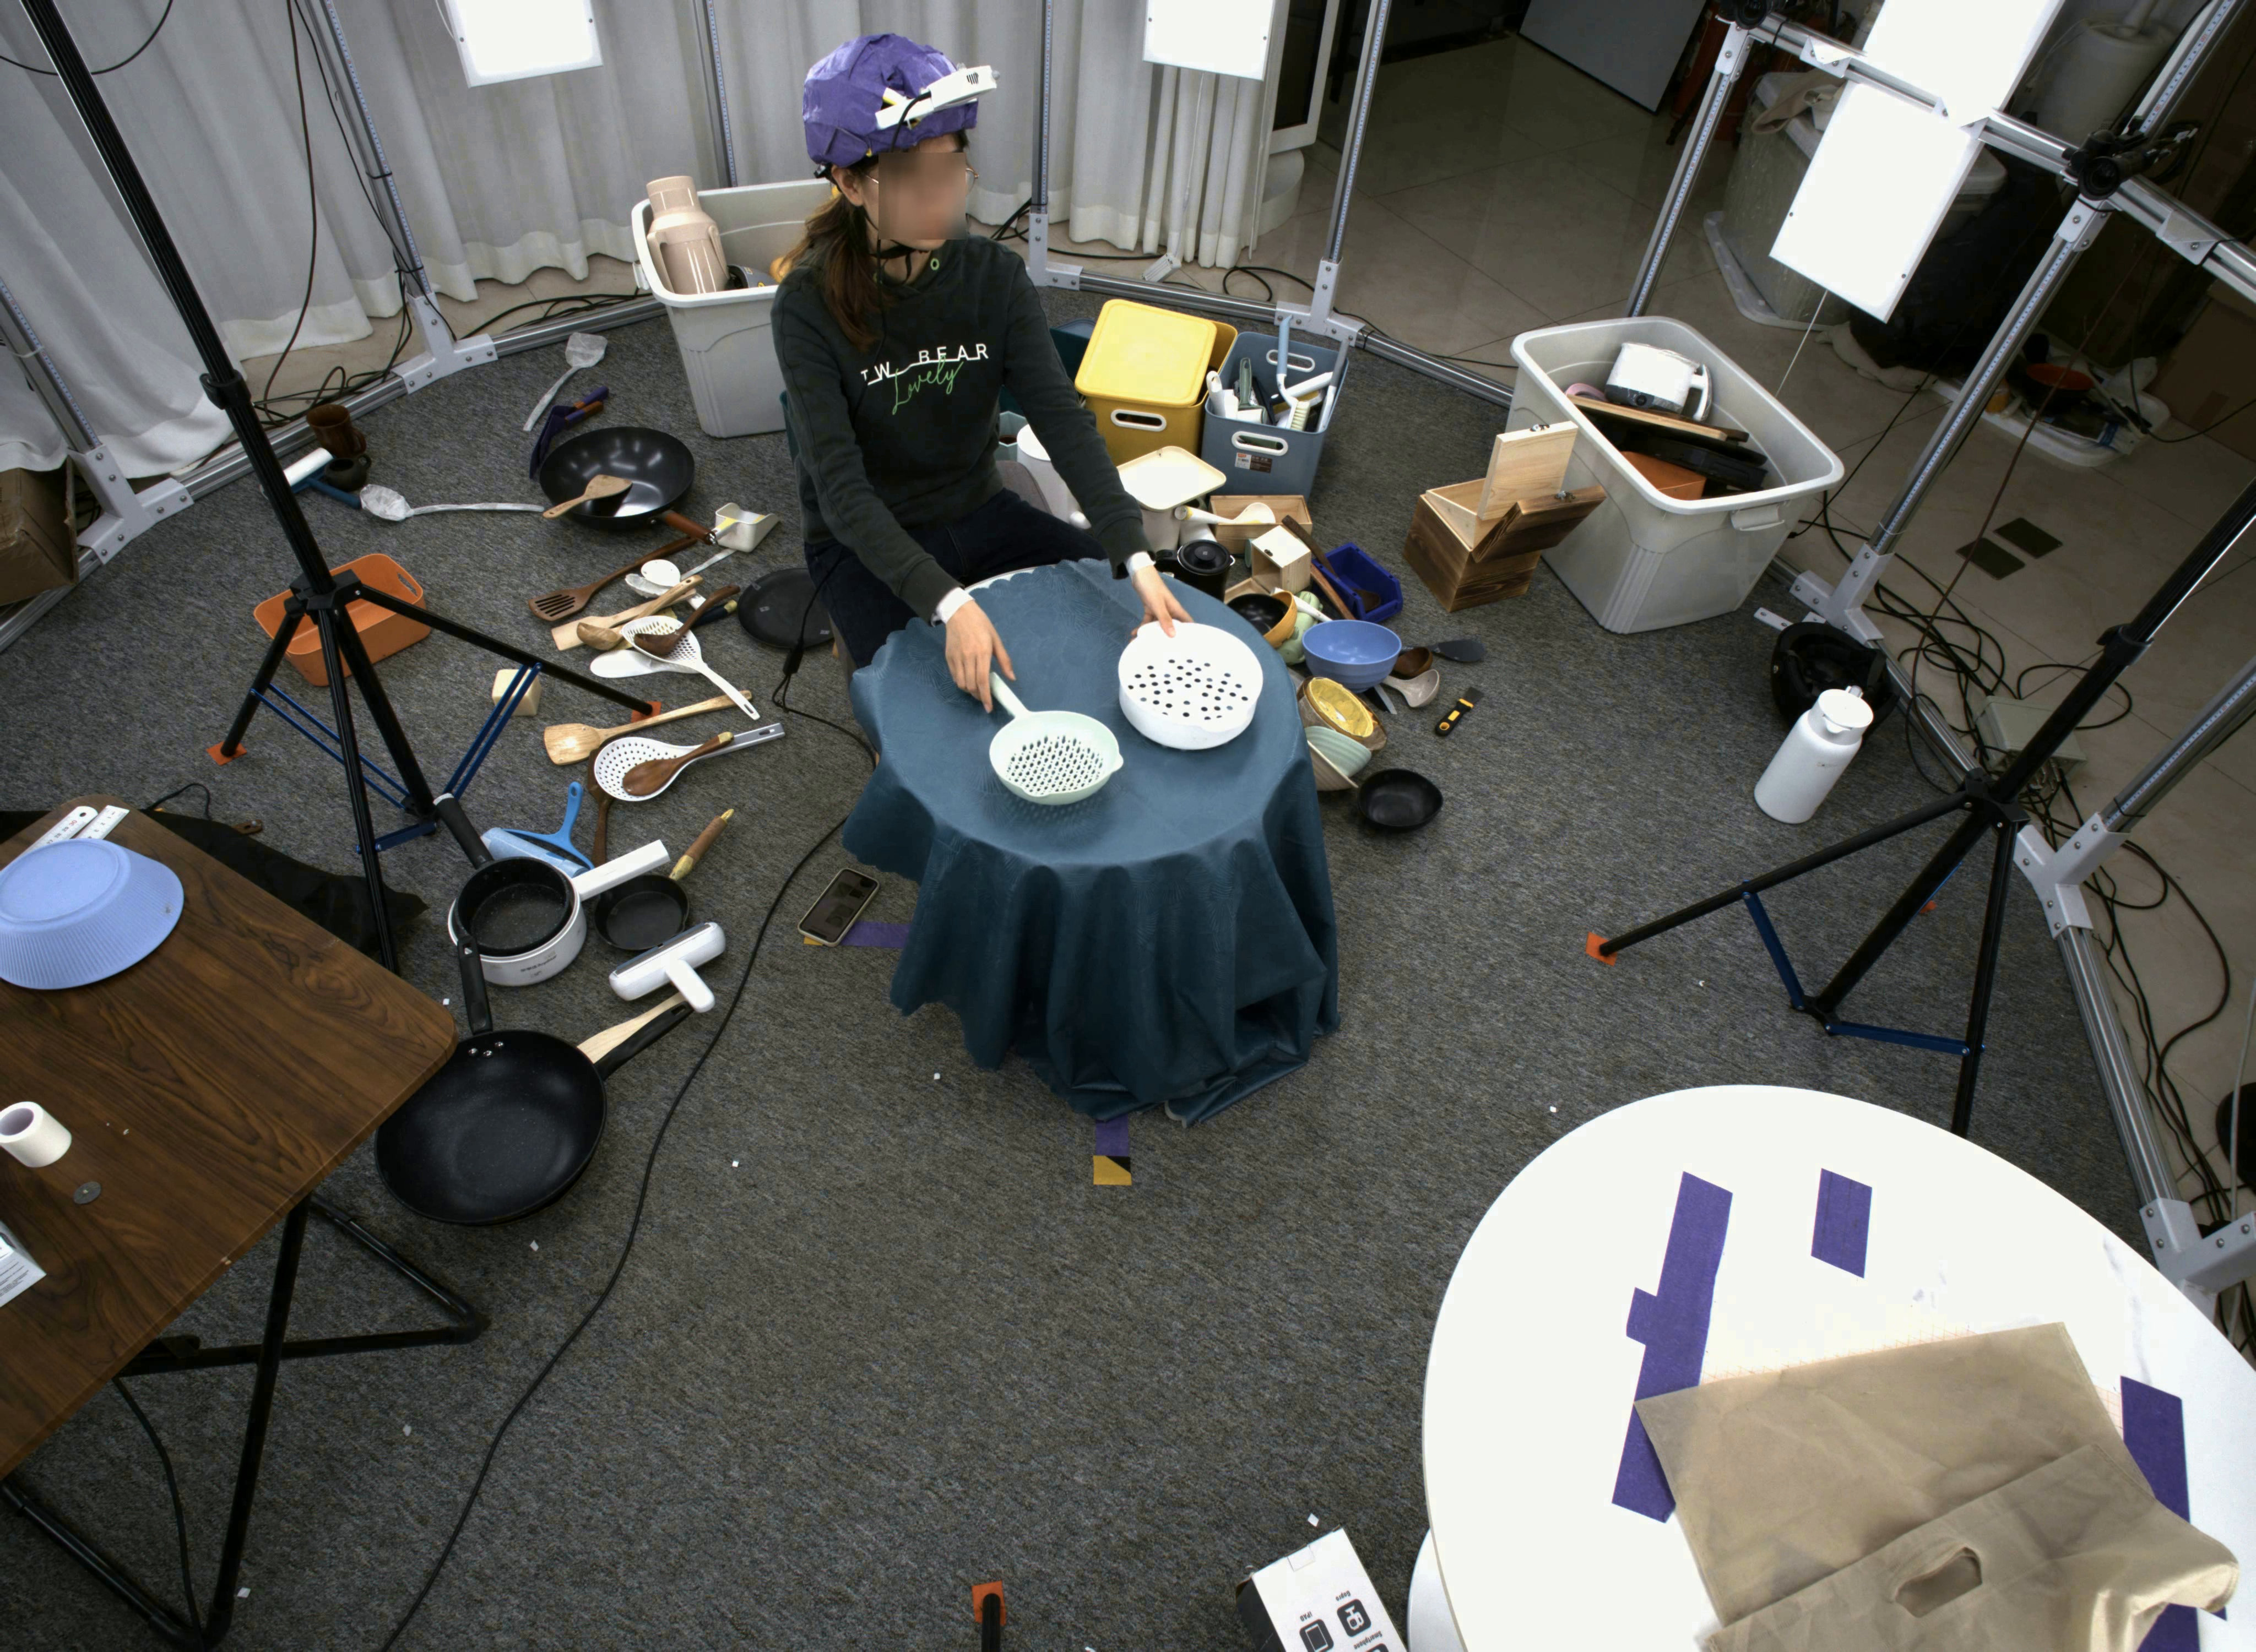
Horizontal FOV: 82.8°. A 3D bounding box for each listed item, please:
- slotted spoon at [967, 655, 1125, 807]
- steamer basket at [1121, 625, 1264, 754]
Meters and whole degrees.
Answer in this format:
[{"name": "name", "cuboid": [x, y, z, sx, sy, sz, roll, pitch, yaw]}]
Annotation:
[{"name": "slotted spoon", "cuboid": [-0.143, -0.146, 1.760, 0.170, 0.073, 0.366, -19, 53, -22]}, {"name": "steamer basket", "cuboid": [0.089, -0.189, 1.814, 0.202, 0.067, 0.236, -18, 52, -20]}]
